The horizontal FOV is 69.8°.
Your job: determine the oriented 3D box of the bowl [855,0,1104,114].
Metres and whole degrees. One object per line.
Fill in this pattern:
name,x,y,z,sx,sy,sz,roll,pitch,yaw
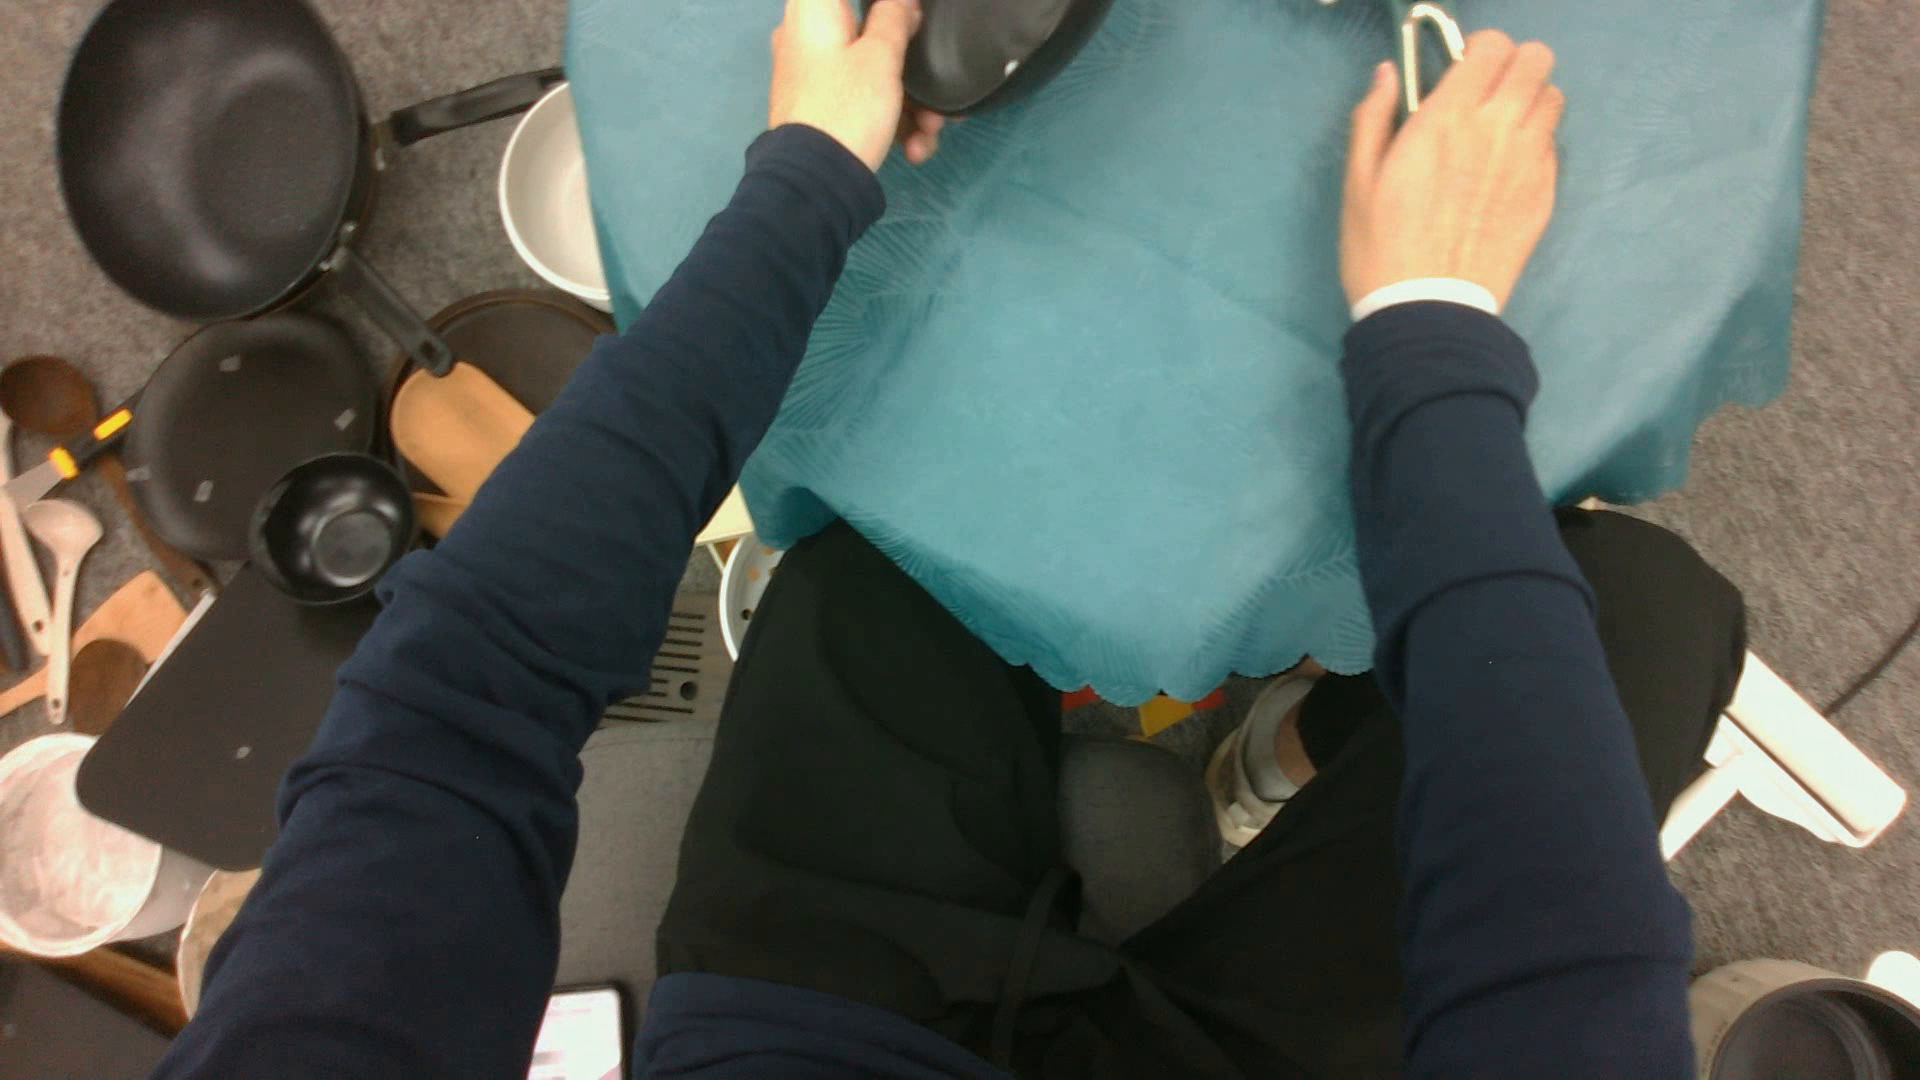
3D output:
bowl,0.025,-0.259,0.609,0.137,0.067,0.170,1,73,40

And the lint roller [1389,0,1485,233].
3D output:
lint roller,0.213,-0.231,0.622,0.134,0.048,0.180,-5,77,1
